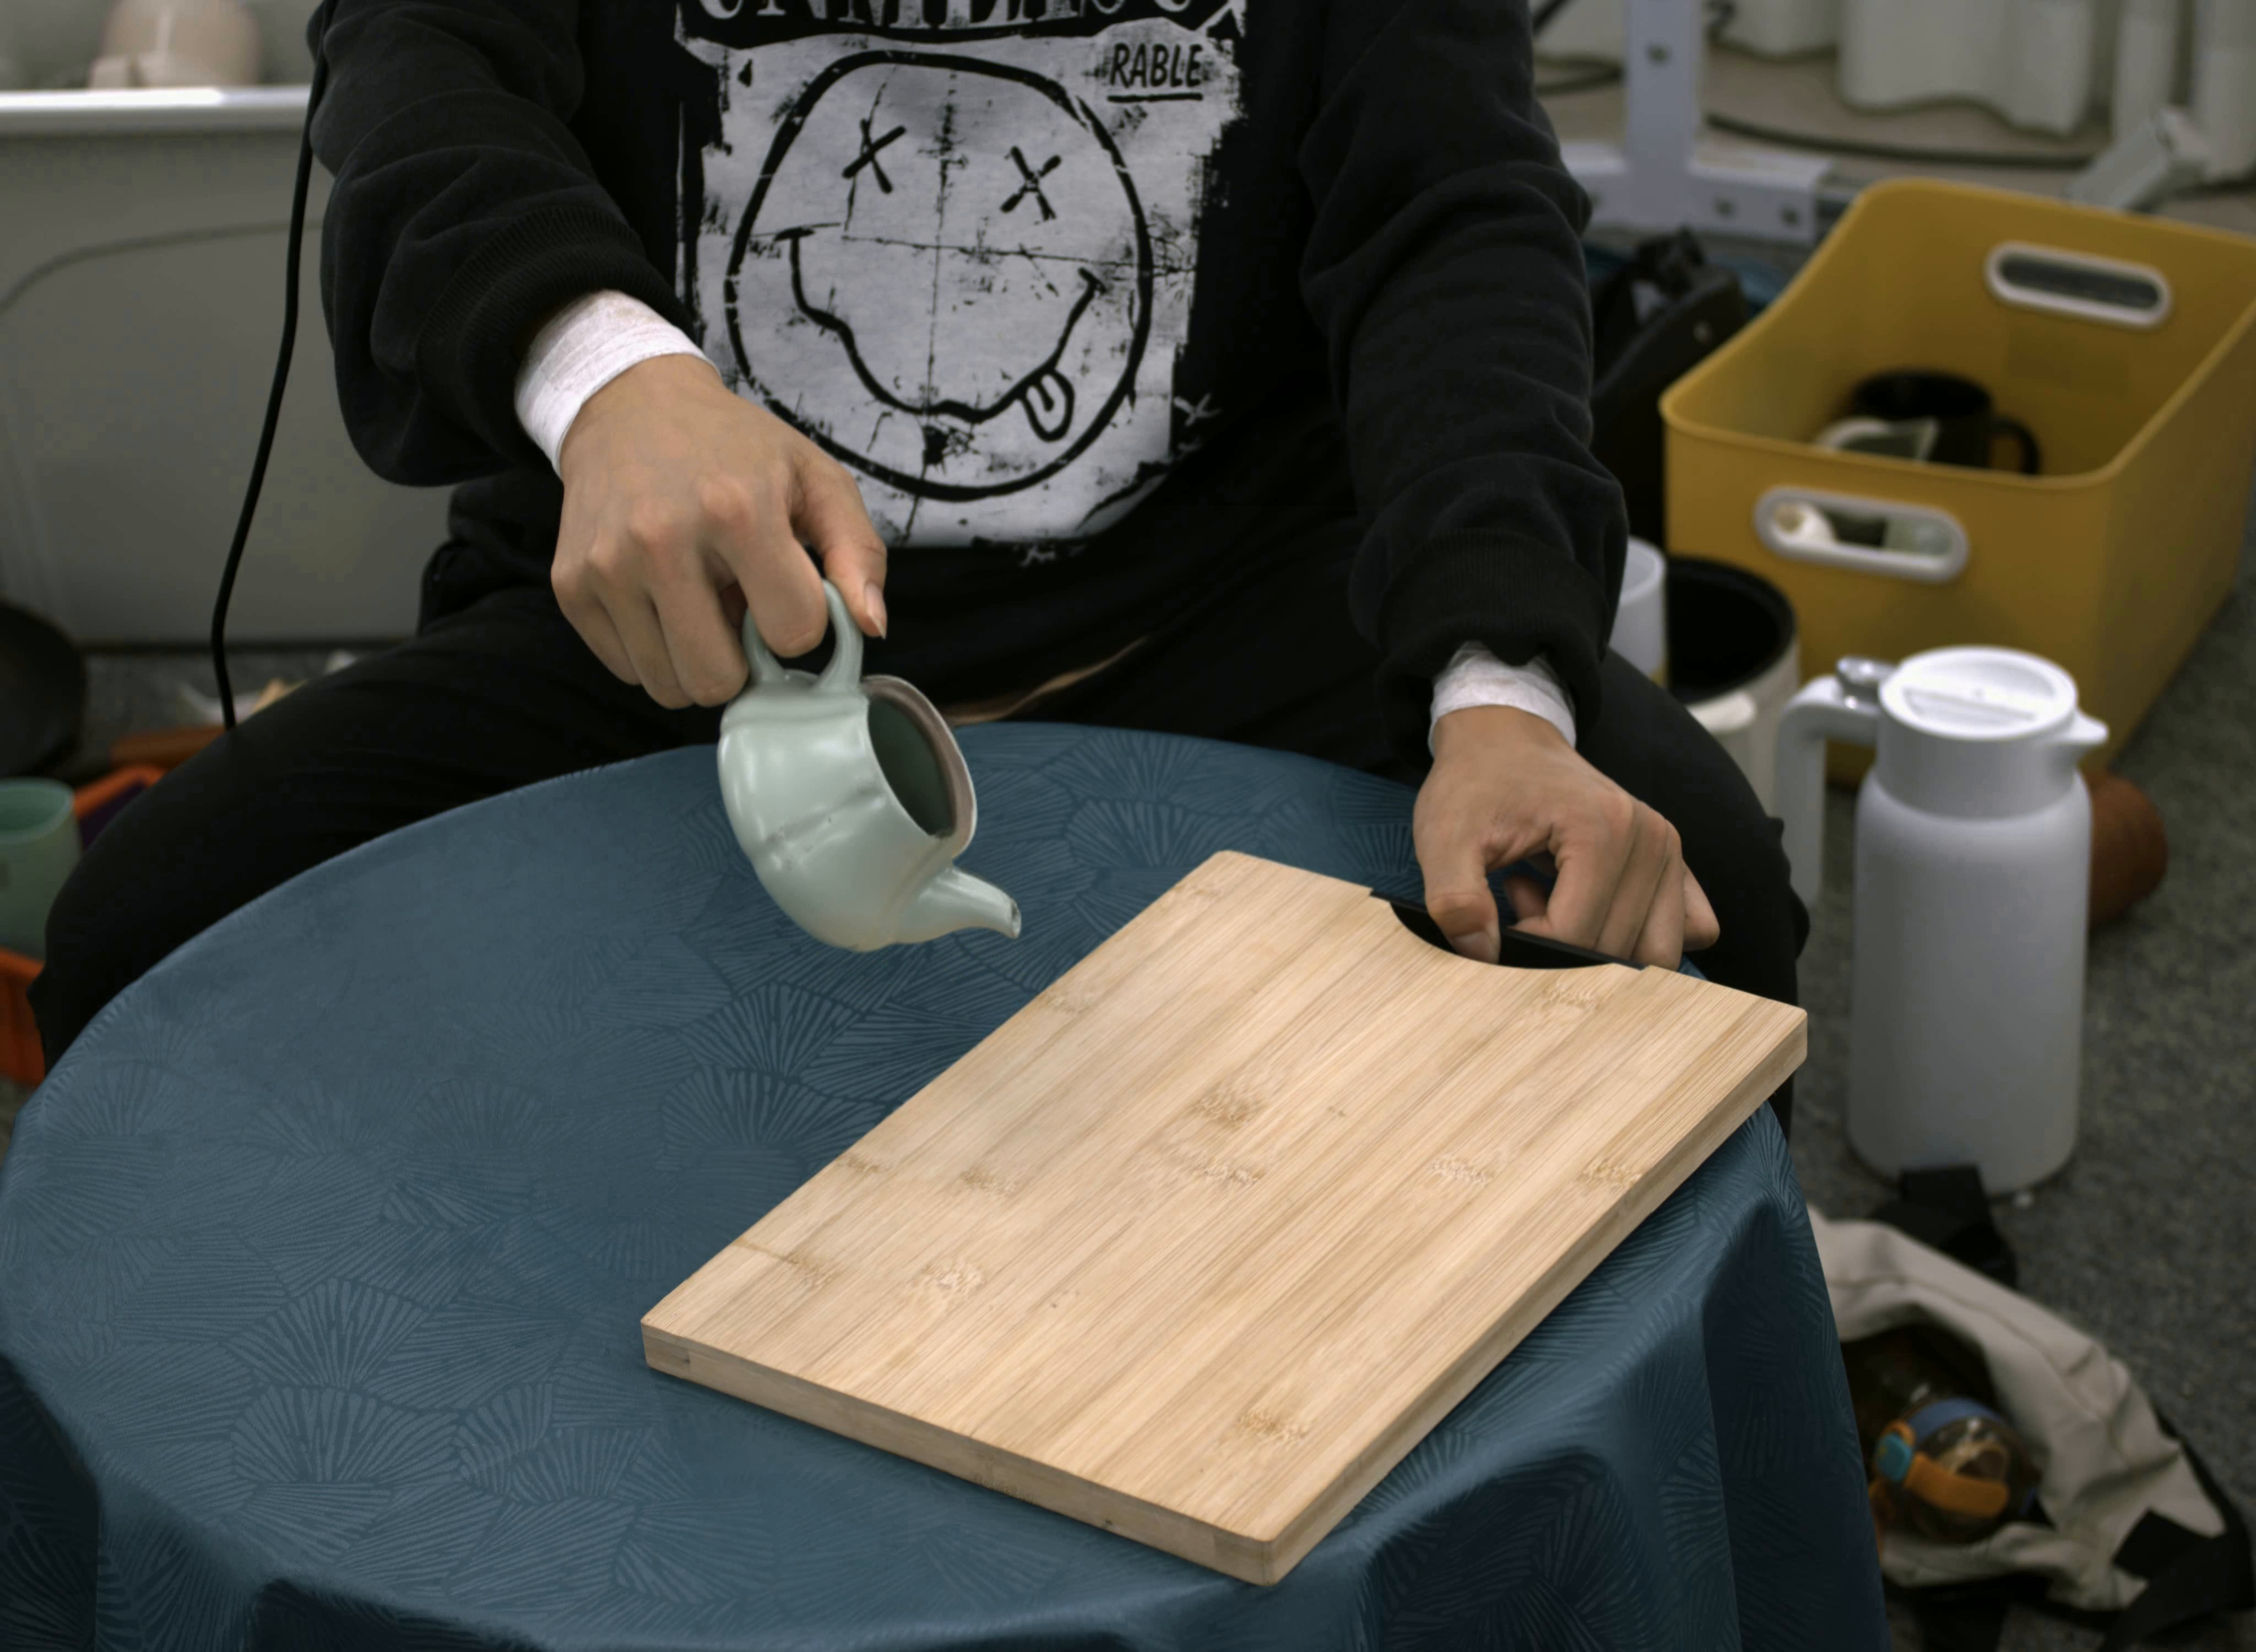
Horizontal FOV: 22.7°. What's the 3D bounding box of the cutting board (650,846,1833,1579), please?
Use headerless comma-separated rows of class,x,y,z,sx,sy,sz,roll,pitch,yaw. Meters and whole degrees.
cutting board,0.041,0.115,1.839,0.249,0.023,0.354,14,33,30

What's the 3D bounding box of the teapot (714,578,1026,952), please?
teapot,-0.090,-0.014,1.792,0.060,0.137,0.097,-26,10,24
